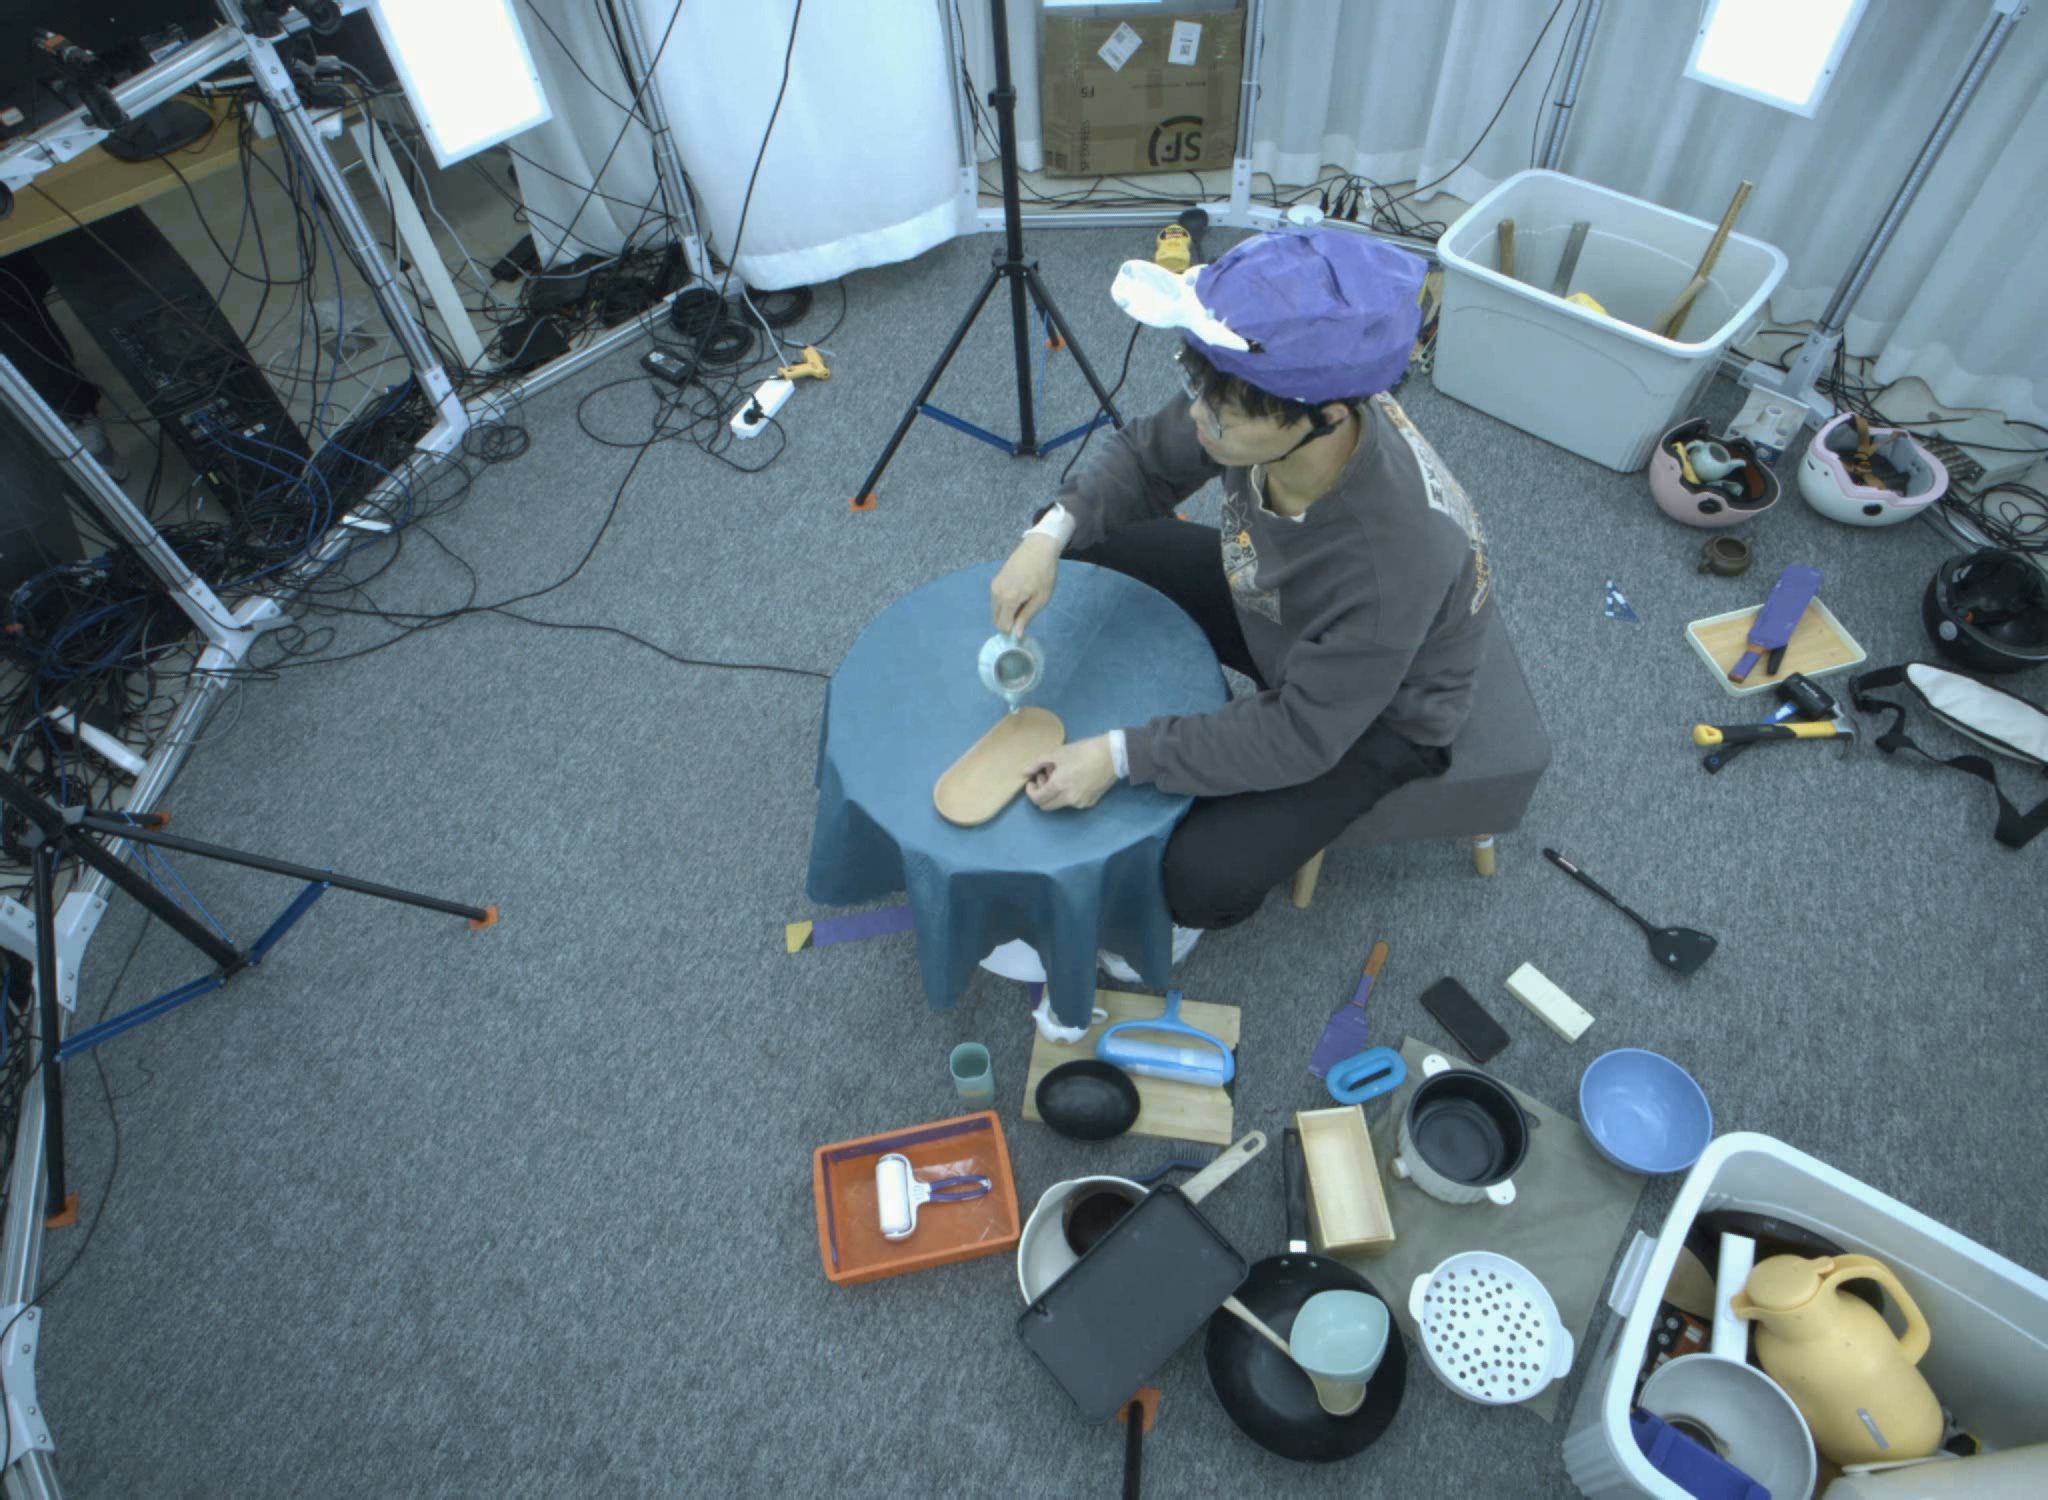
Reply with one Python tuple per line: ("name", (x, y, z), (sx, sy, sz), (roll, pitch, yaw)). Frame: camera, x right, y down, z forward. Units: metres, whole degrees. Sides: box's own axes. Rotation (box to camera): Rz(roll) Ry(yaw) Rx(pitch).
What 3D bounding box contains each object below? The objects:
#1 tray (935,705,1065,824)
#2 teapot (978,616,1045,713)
("tray", (-0.033, 0.020, 1.761), (0.100, 0.020, 0.232), (34, 61, 23))
("teapot", (-0.017, -0.125, 1.749), (0.096, 0.138, 0.061), (-4, 17, -4))
